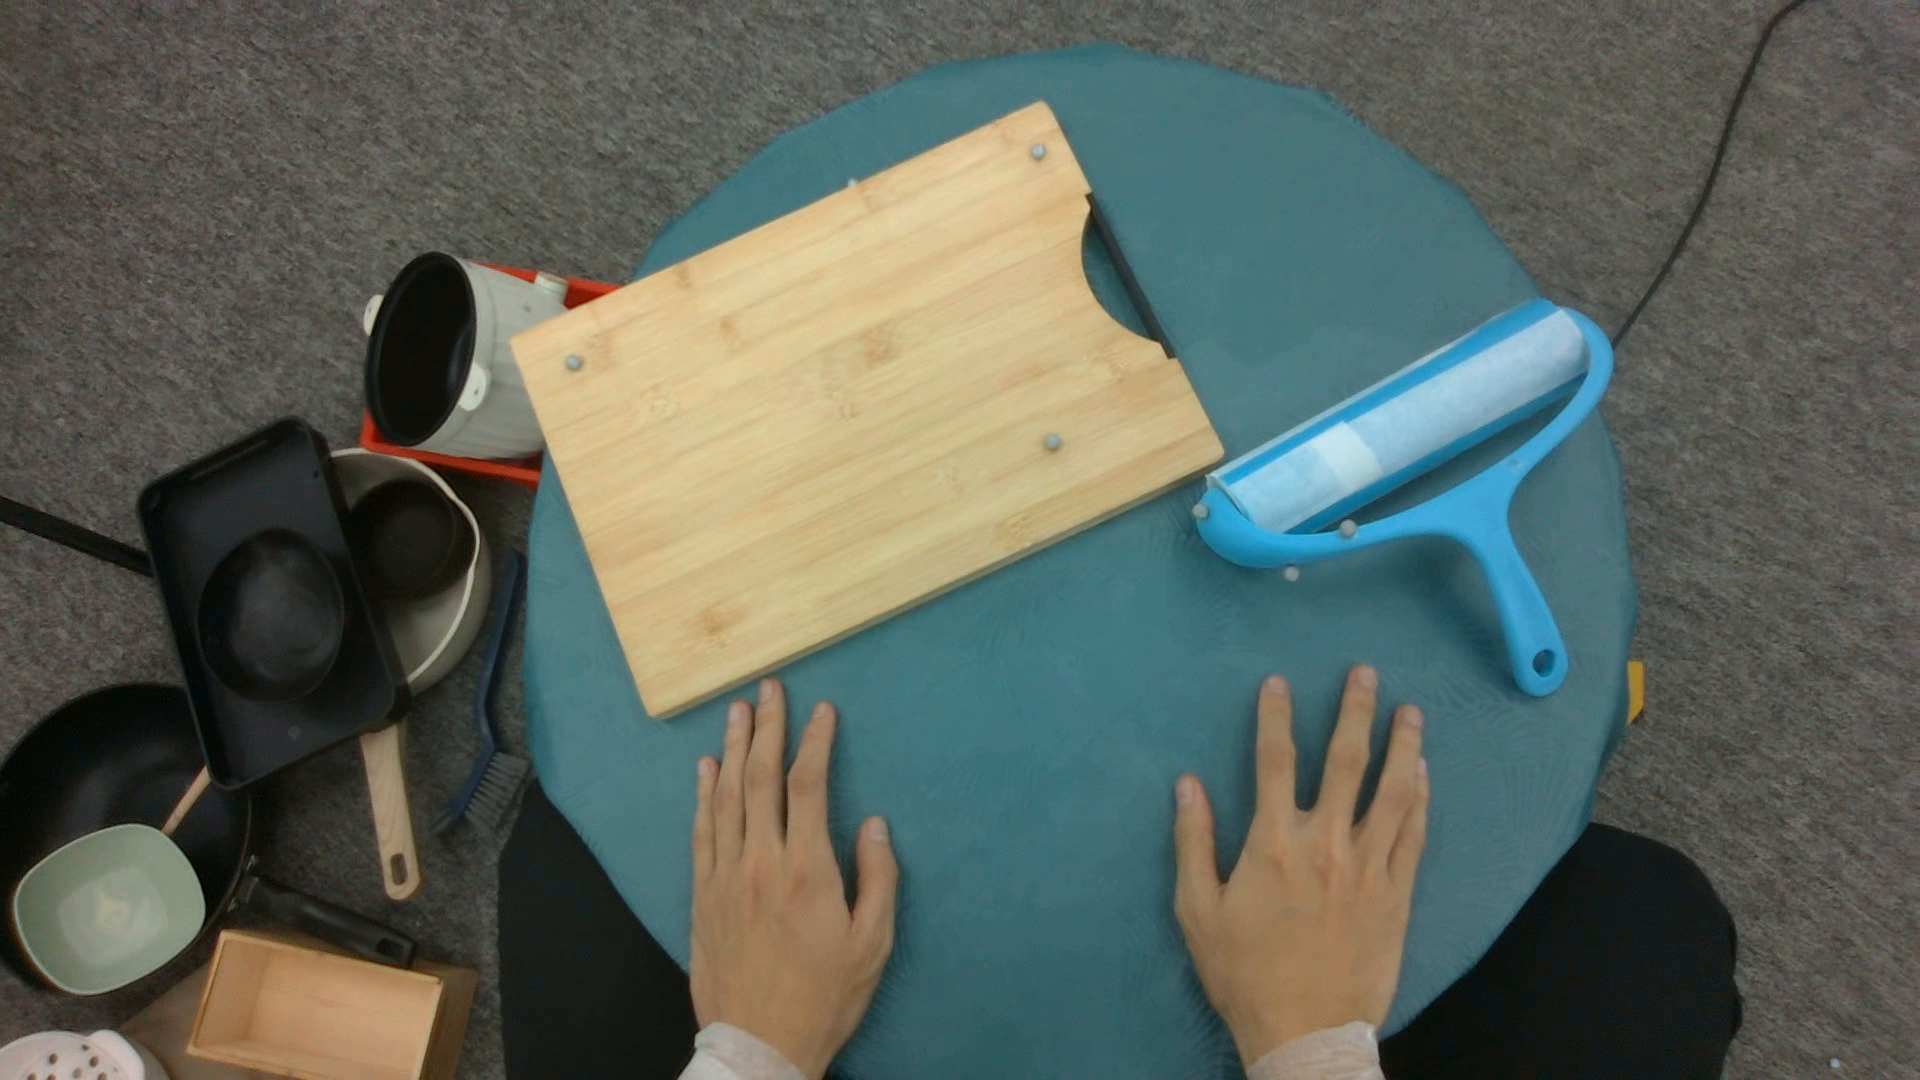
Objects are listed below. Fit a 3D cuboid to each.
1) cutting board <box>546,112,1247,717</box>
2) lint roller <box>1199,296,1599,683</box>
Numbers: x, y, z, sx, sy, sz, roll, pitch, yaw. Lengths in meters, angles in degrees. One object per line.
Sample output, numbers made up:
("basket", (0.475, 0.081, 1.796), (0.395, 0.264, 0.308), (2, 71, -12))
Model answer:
("cutting board", (-0.046, -0.077, 0.789), (0.348, 0.023, 0.251), (-25, 74, 0))
("lint roller", (0.260, -0.010, 0.714), (0.229, 0.068, 0.180), (-32, 74, -3))
